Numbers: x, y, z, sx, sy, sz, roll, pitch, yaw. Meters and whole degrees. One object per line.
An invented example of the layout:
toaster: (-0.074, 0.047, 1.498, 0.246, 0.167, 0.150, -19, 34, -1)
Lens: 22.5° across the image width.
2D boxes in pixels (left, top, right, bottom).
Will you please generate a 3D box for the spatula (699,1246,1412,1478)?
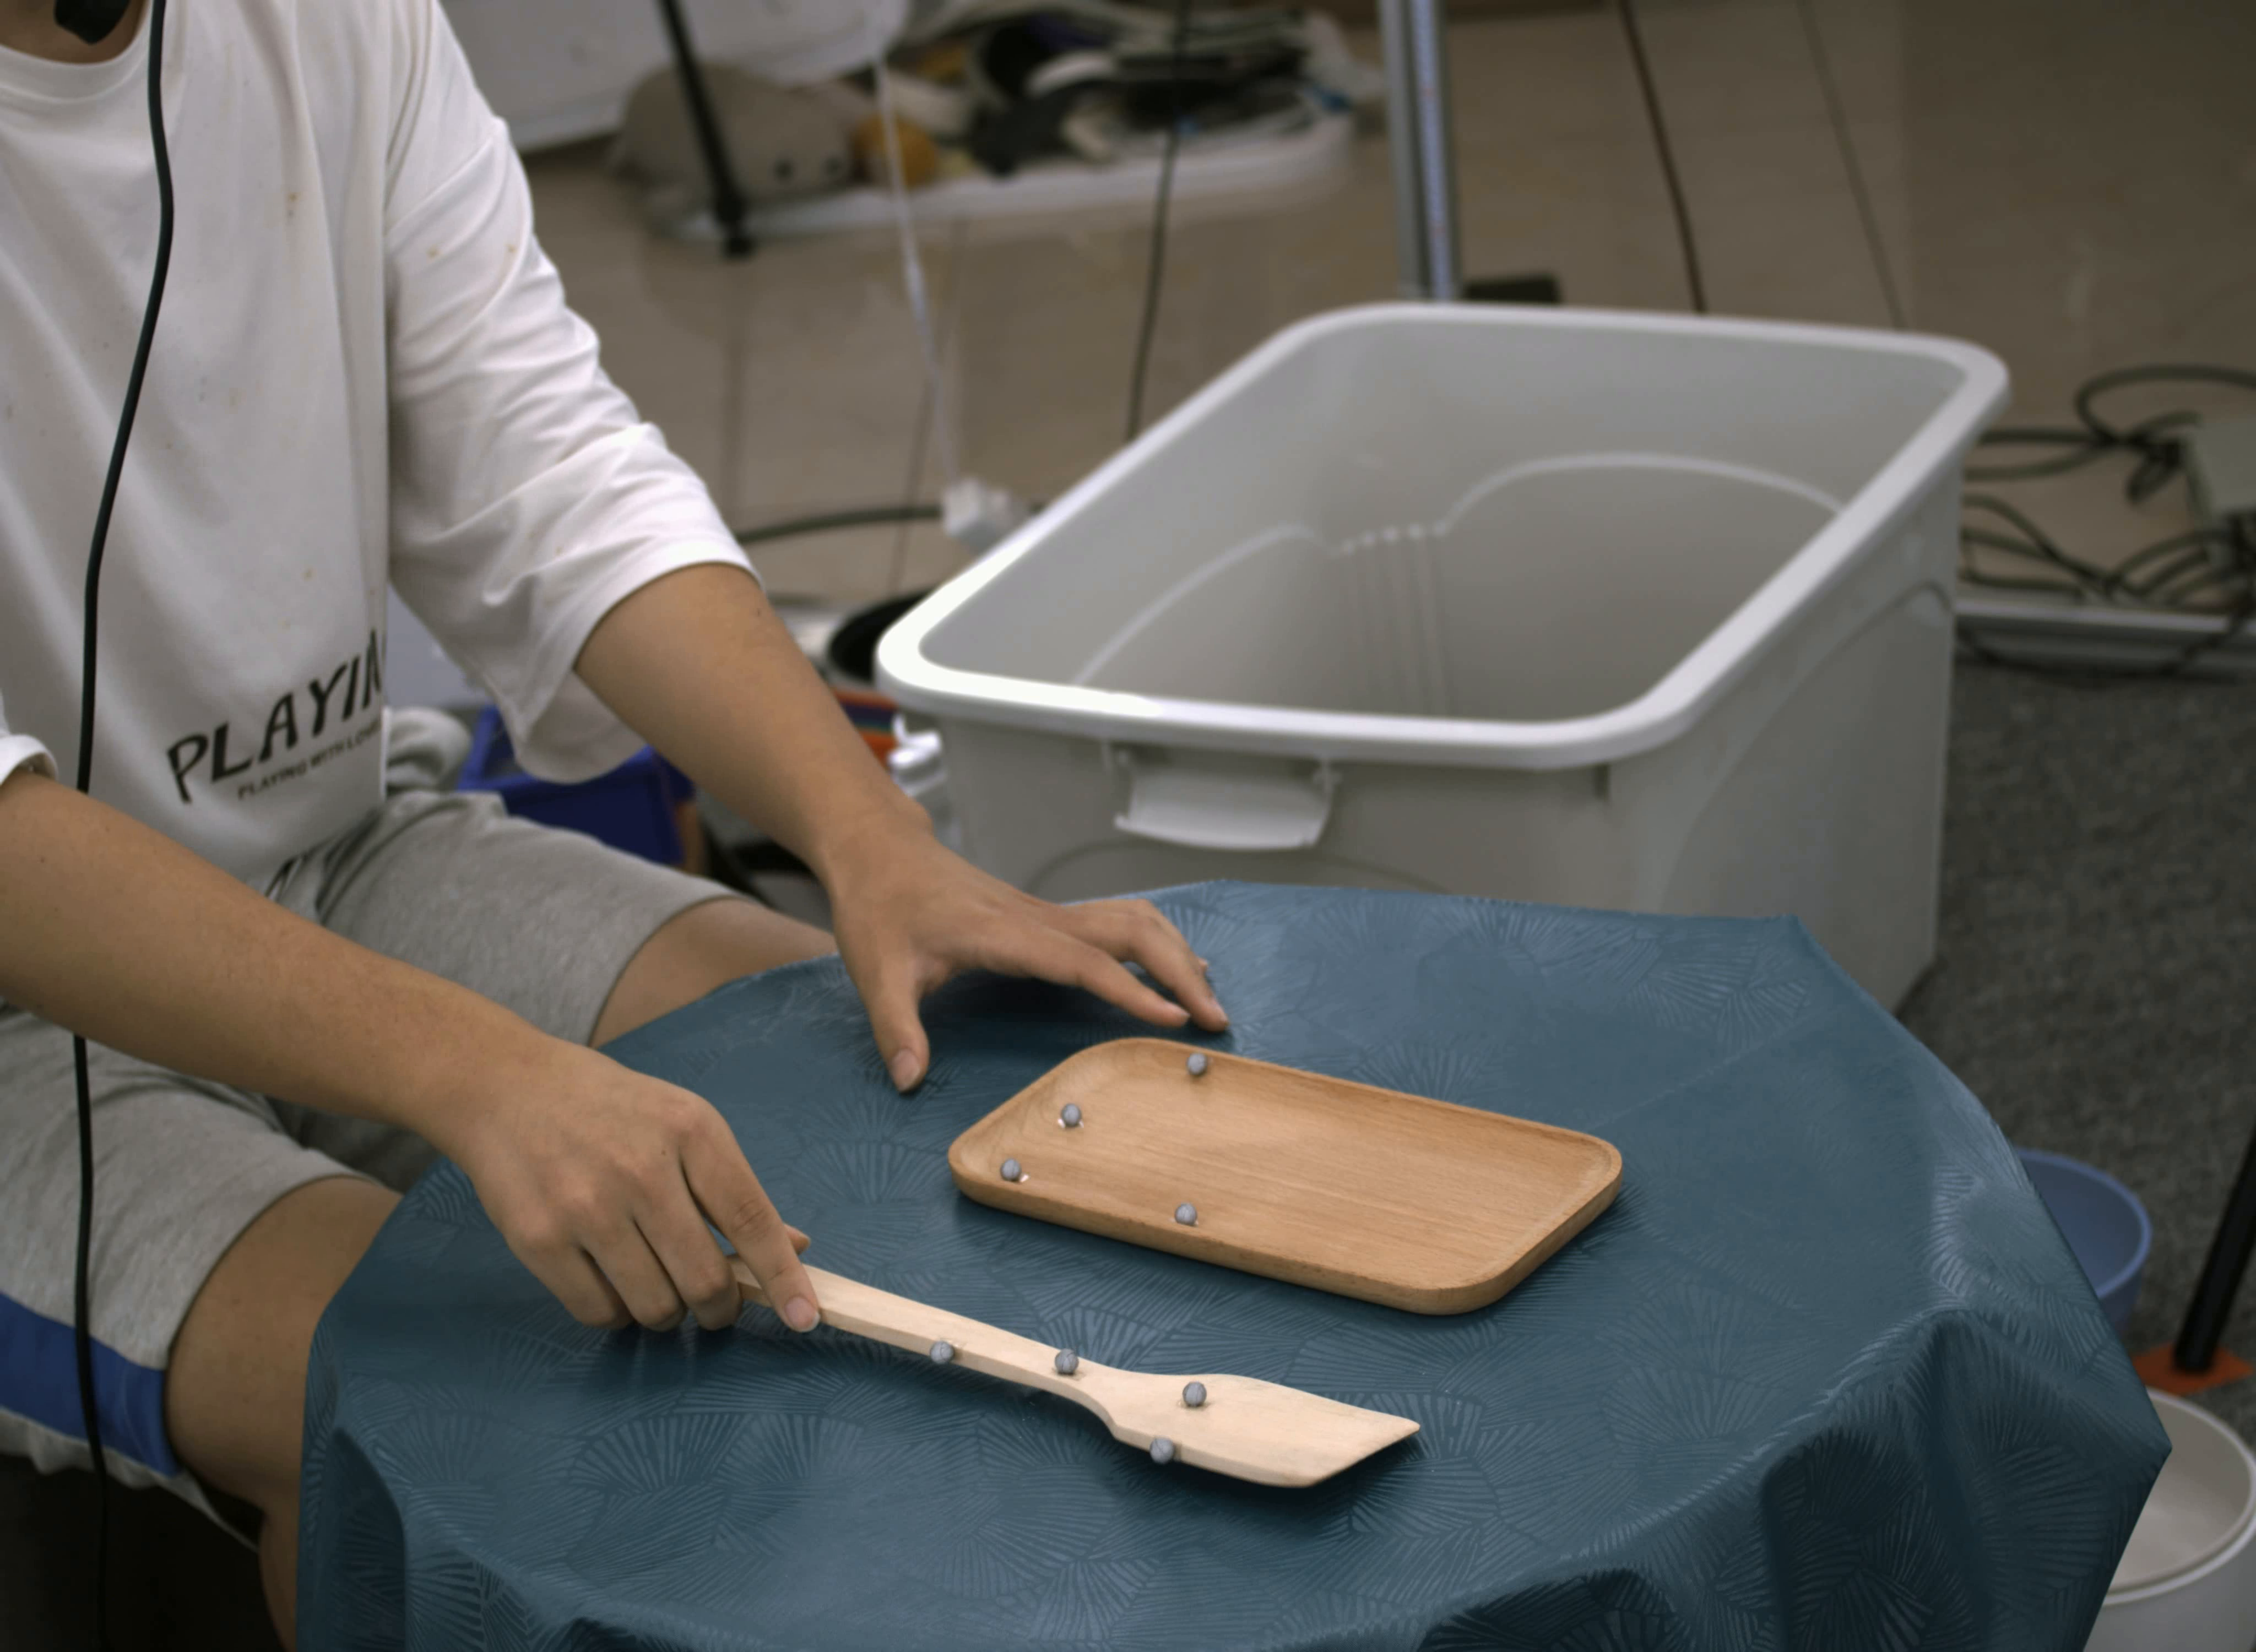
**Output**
spatula: (-0.037, 0.188, 2.017, 0.291, 0.011, 0.072, 13, 18, 34)

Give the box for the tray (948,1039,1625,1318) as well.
tray: (0.058, 0.131, 2.130, 0.249, 0.023, 0.129, 13, 34, 35)
